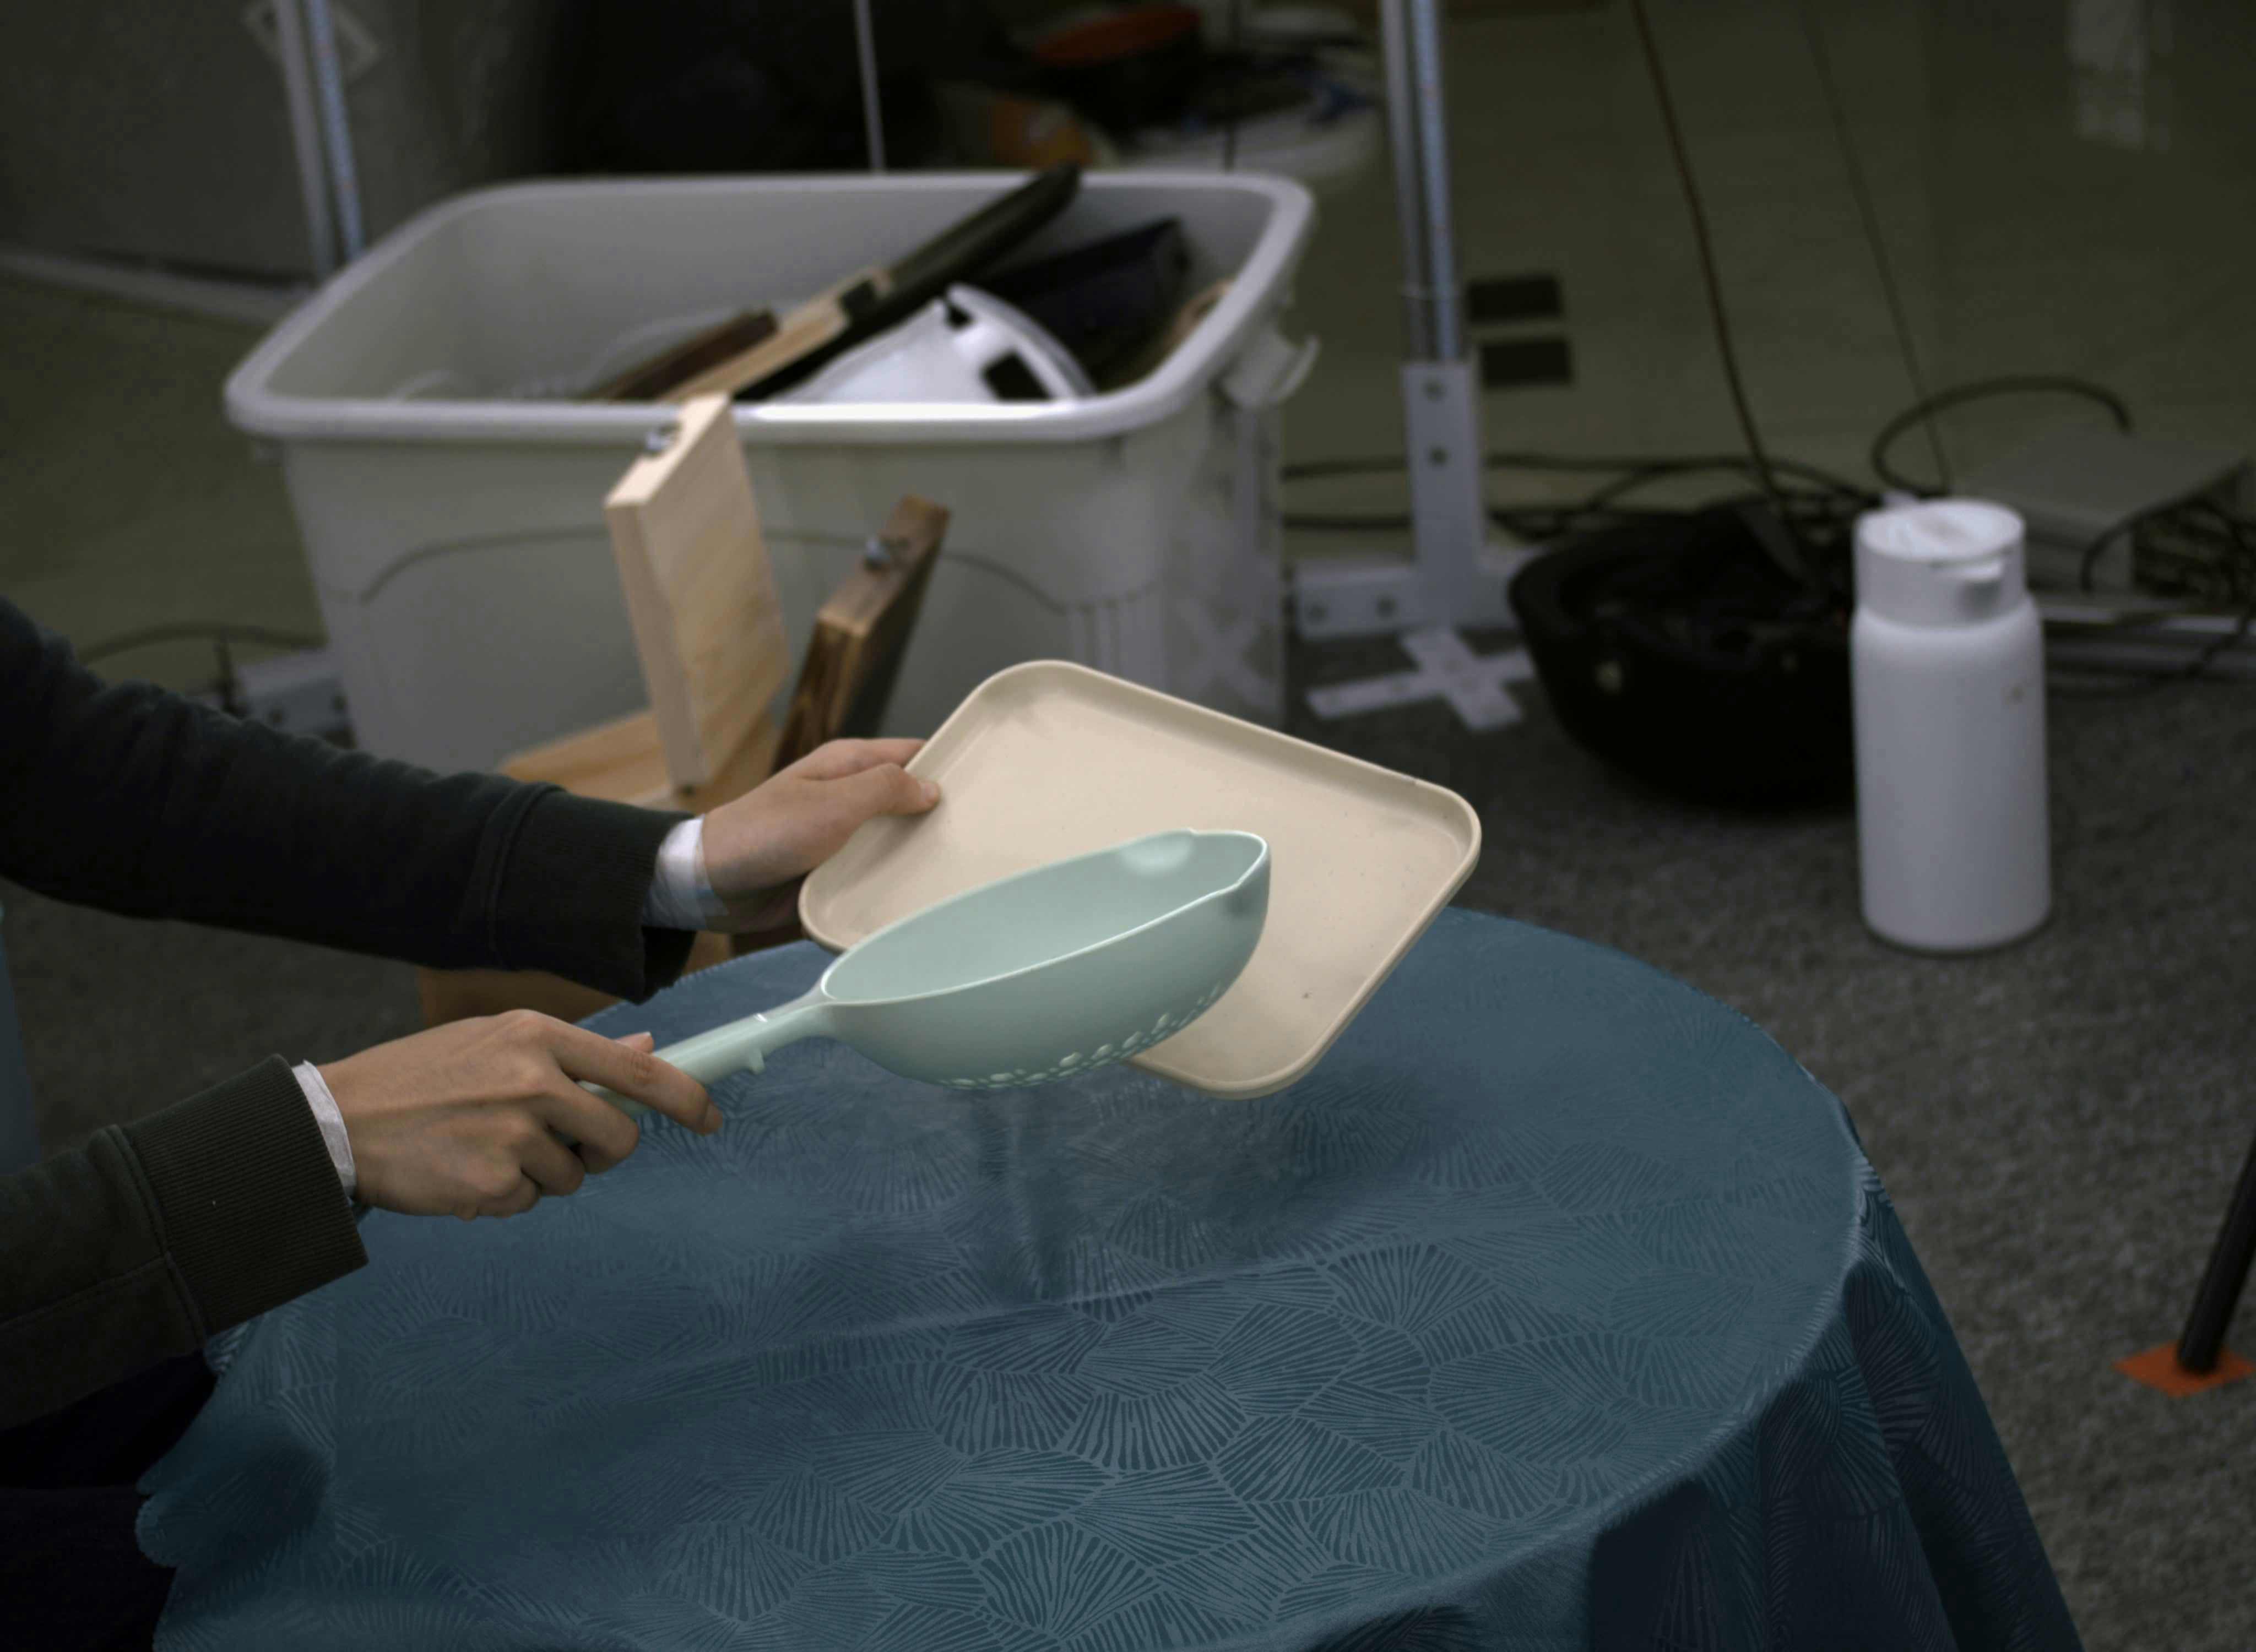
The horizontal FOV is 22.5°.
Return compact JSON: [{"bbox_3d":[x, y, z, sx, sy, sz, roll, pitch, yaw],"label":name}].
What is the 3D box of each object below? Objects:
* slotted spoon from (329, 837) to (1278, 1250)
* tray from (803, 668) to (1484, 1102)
[{"bbox_3d":[-0.115,0.077,2.022,0.358,0.076,0.168,-12,8,-12],"label":"slotted spoon"},{"bbox_3d":[0.006,0.022,2.175,0.238,0.018,0.169,19,54,32],"label":"tray"}]
